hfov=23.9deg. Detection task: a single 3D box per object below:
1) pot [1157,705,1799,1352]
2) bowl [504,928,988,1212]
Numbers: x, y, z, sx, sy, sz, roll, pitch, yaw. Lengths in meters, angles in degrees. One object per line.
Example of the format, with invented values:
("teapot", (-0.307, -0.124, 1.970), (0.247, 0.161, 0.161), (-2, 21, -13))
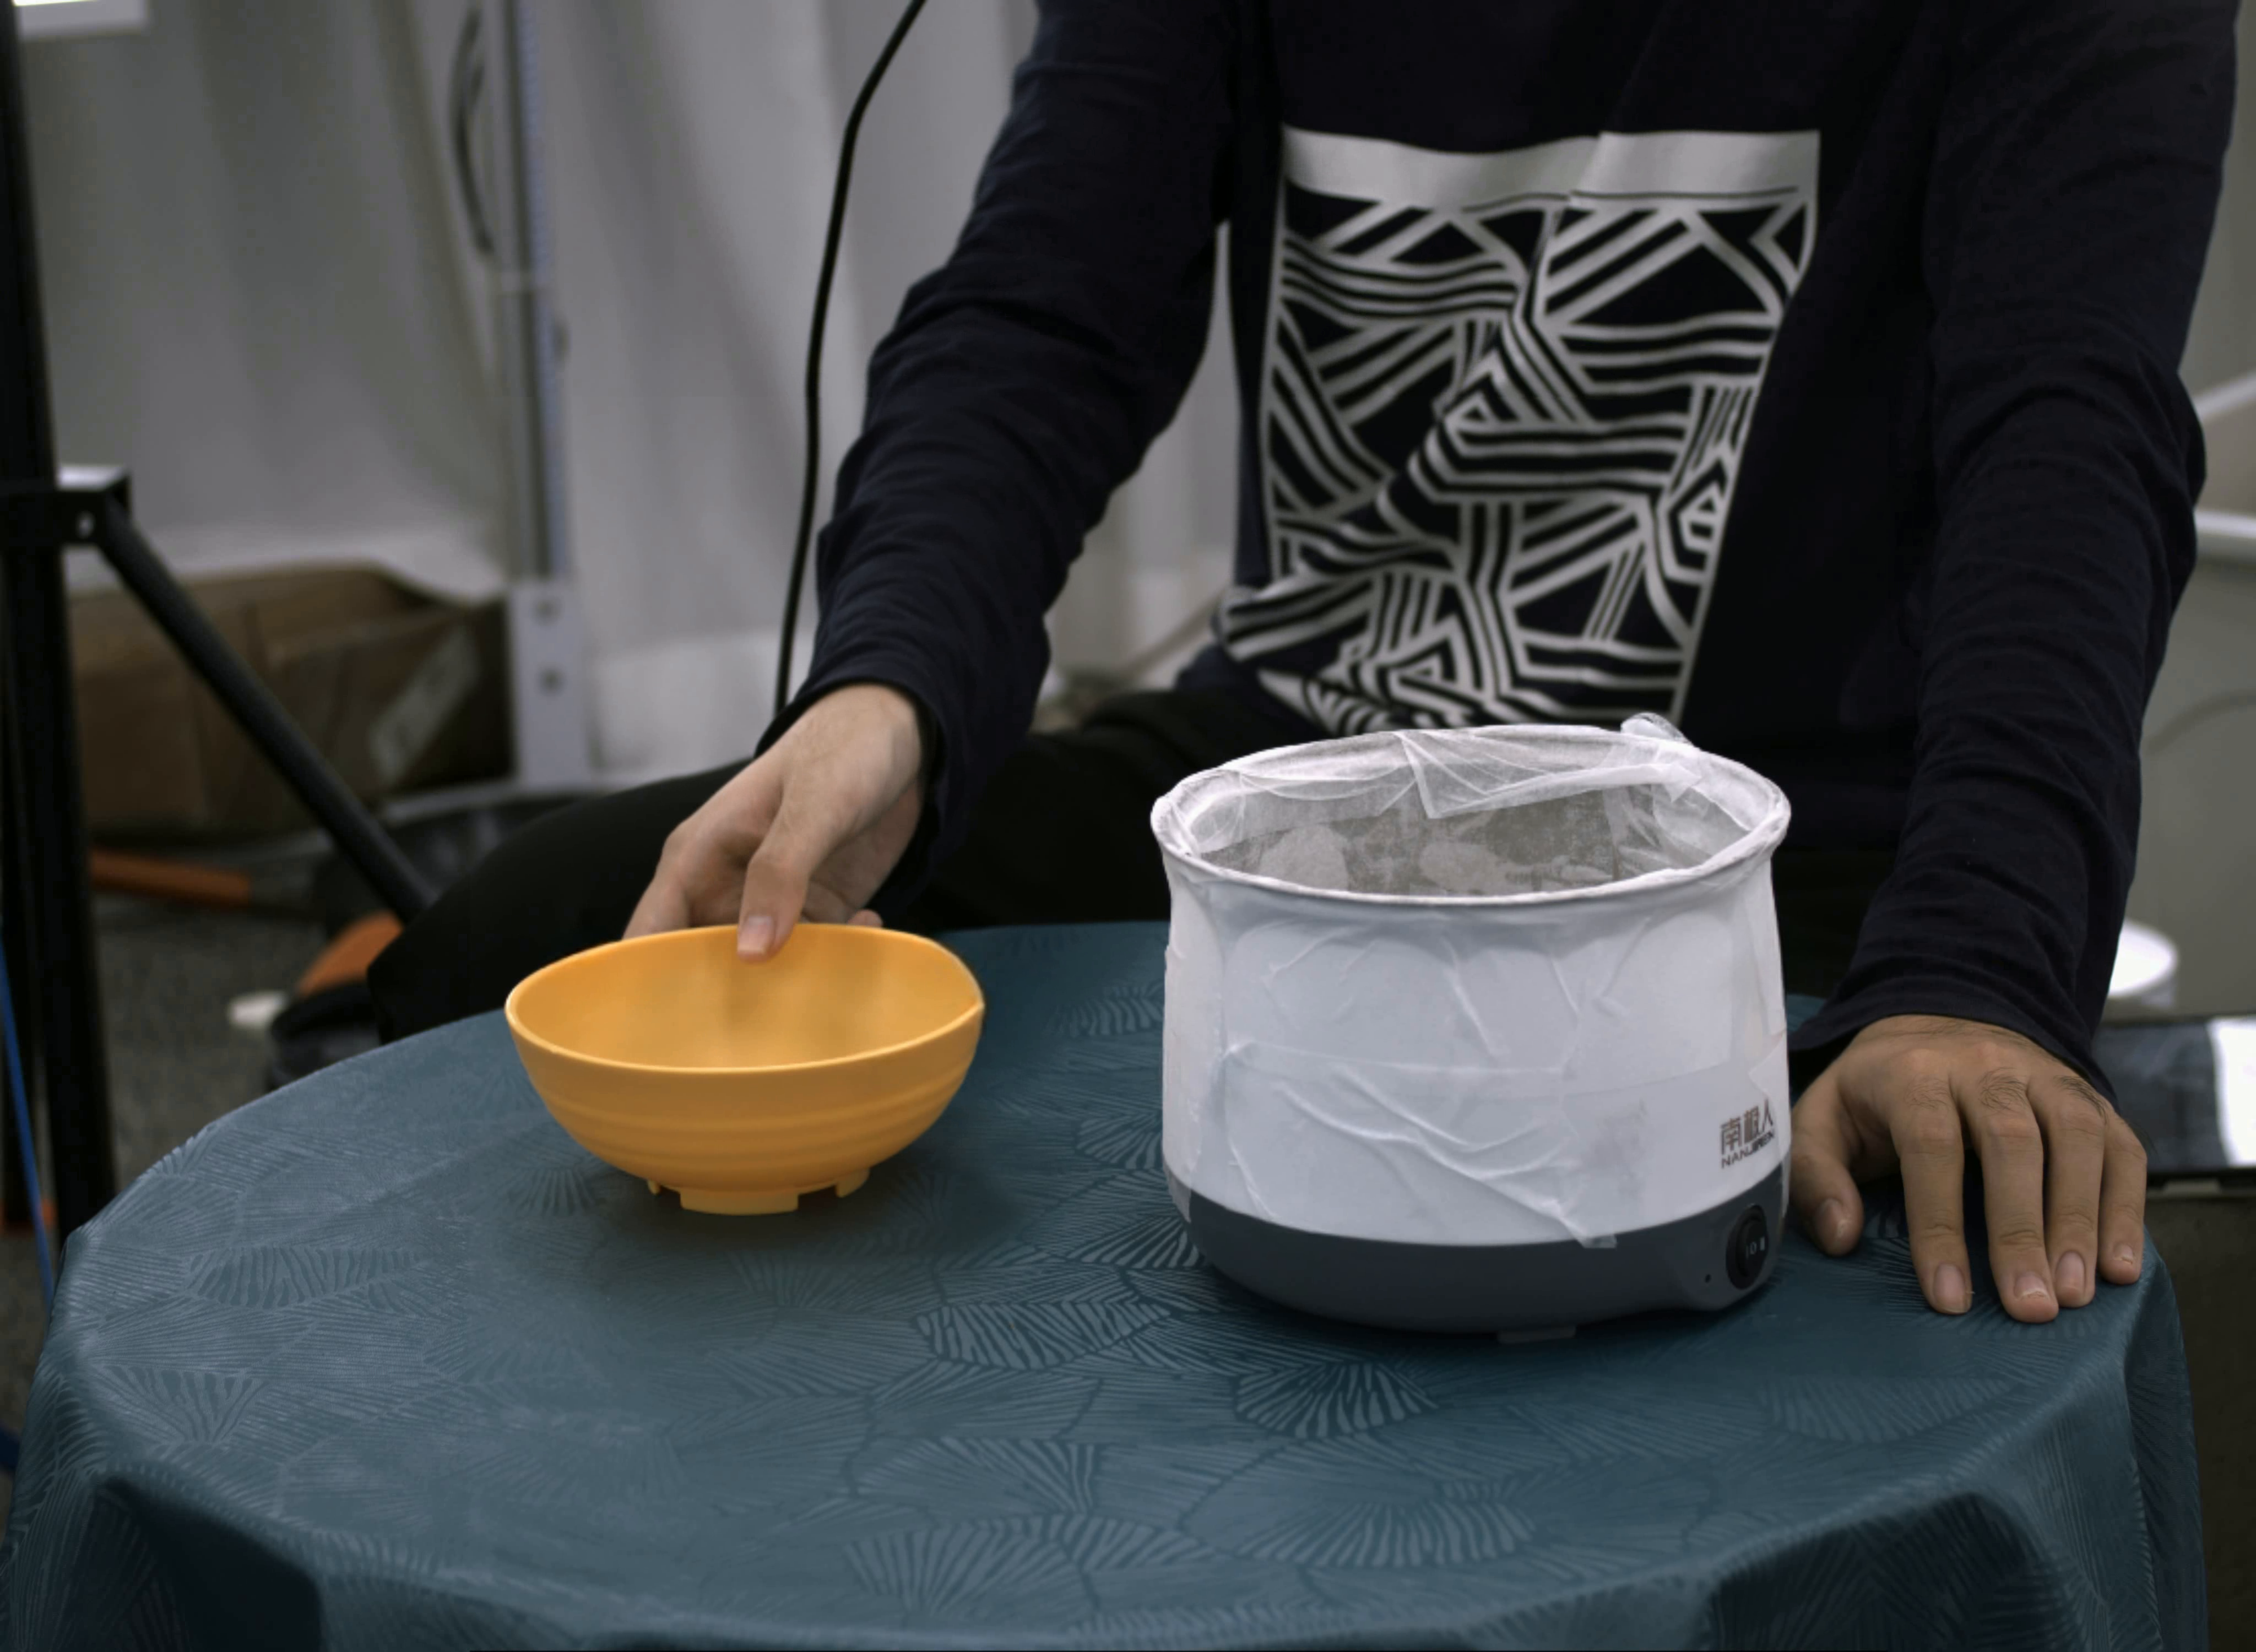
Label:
("pot", (0.111, 0.049, 1.500), (0.182, 0.136, 0.229), (11, 21, 32))
("bowl", (-0.111, 0.076, 1.578), (0.144, 0.060, 0.146), (-3, 14, -1))
